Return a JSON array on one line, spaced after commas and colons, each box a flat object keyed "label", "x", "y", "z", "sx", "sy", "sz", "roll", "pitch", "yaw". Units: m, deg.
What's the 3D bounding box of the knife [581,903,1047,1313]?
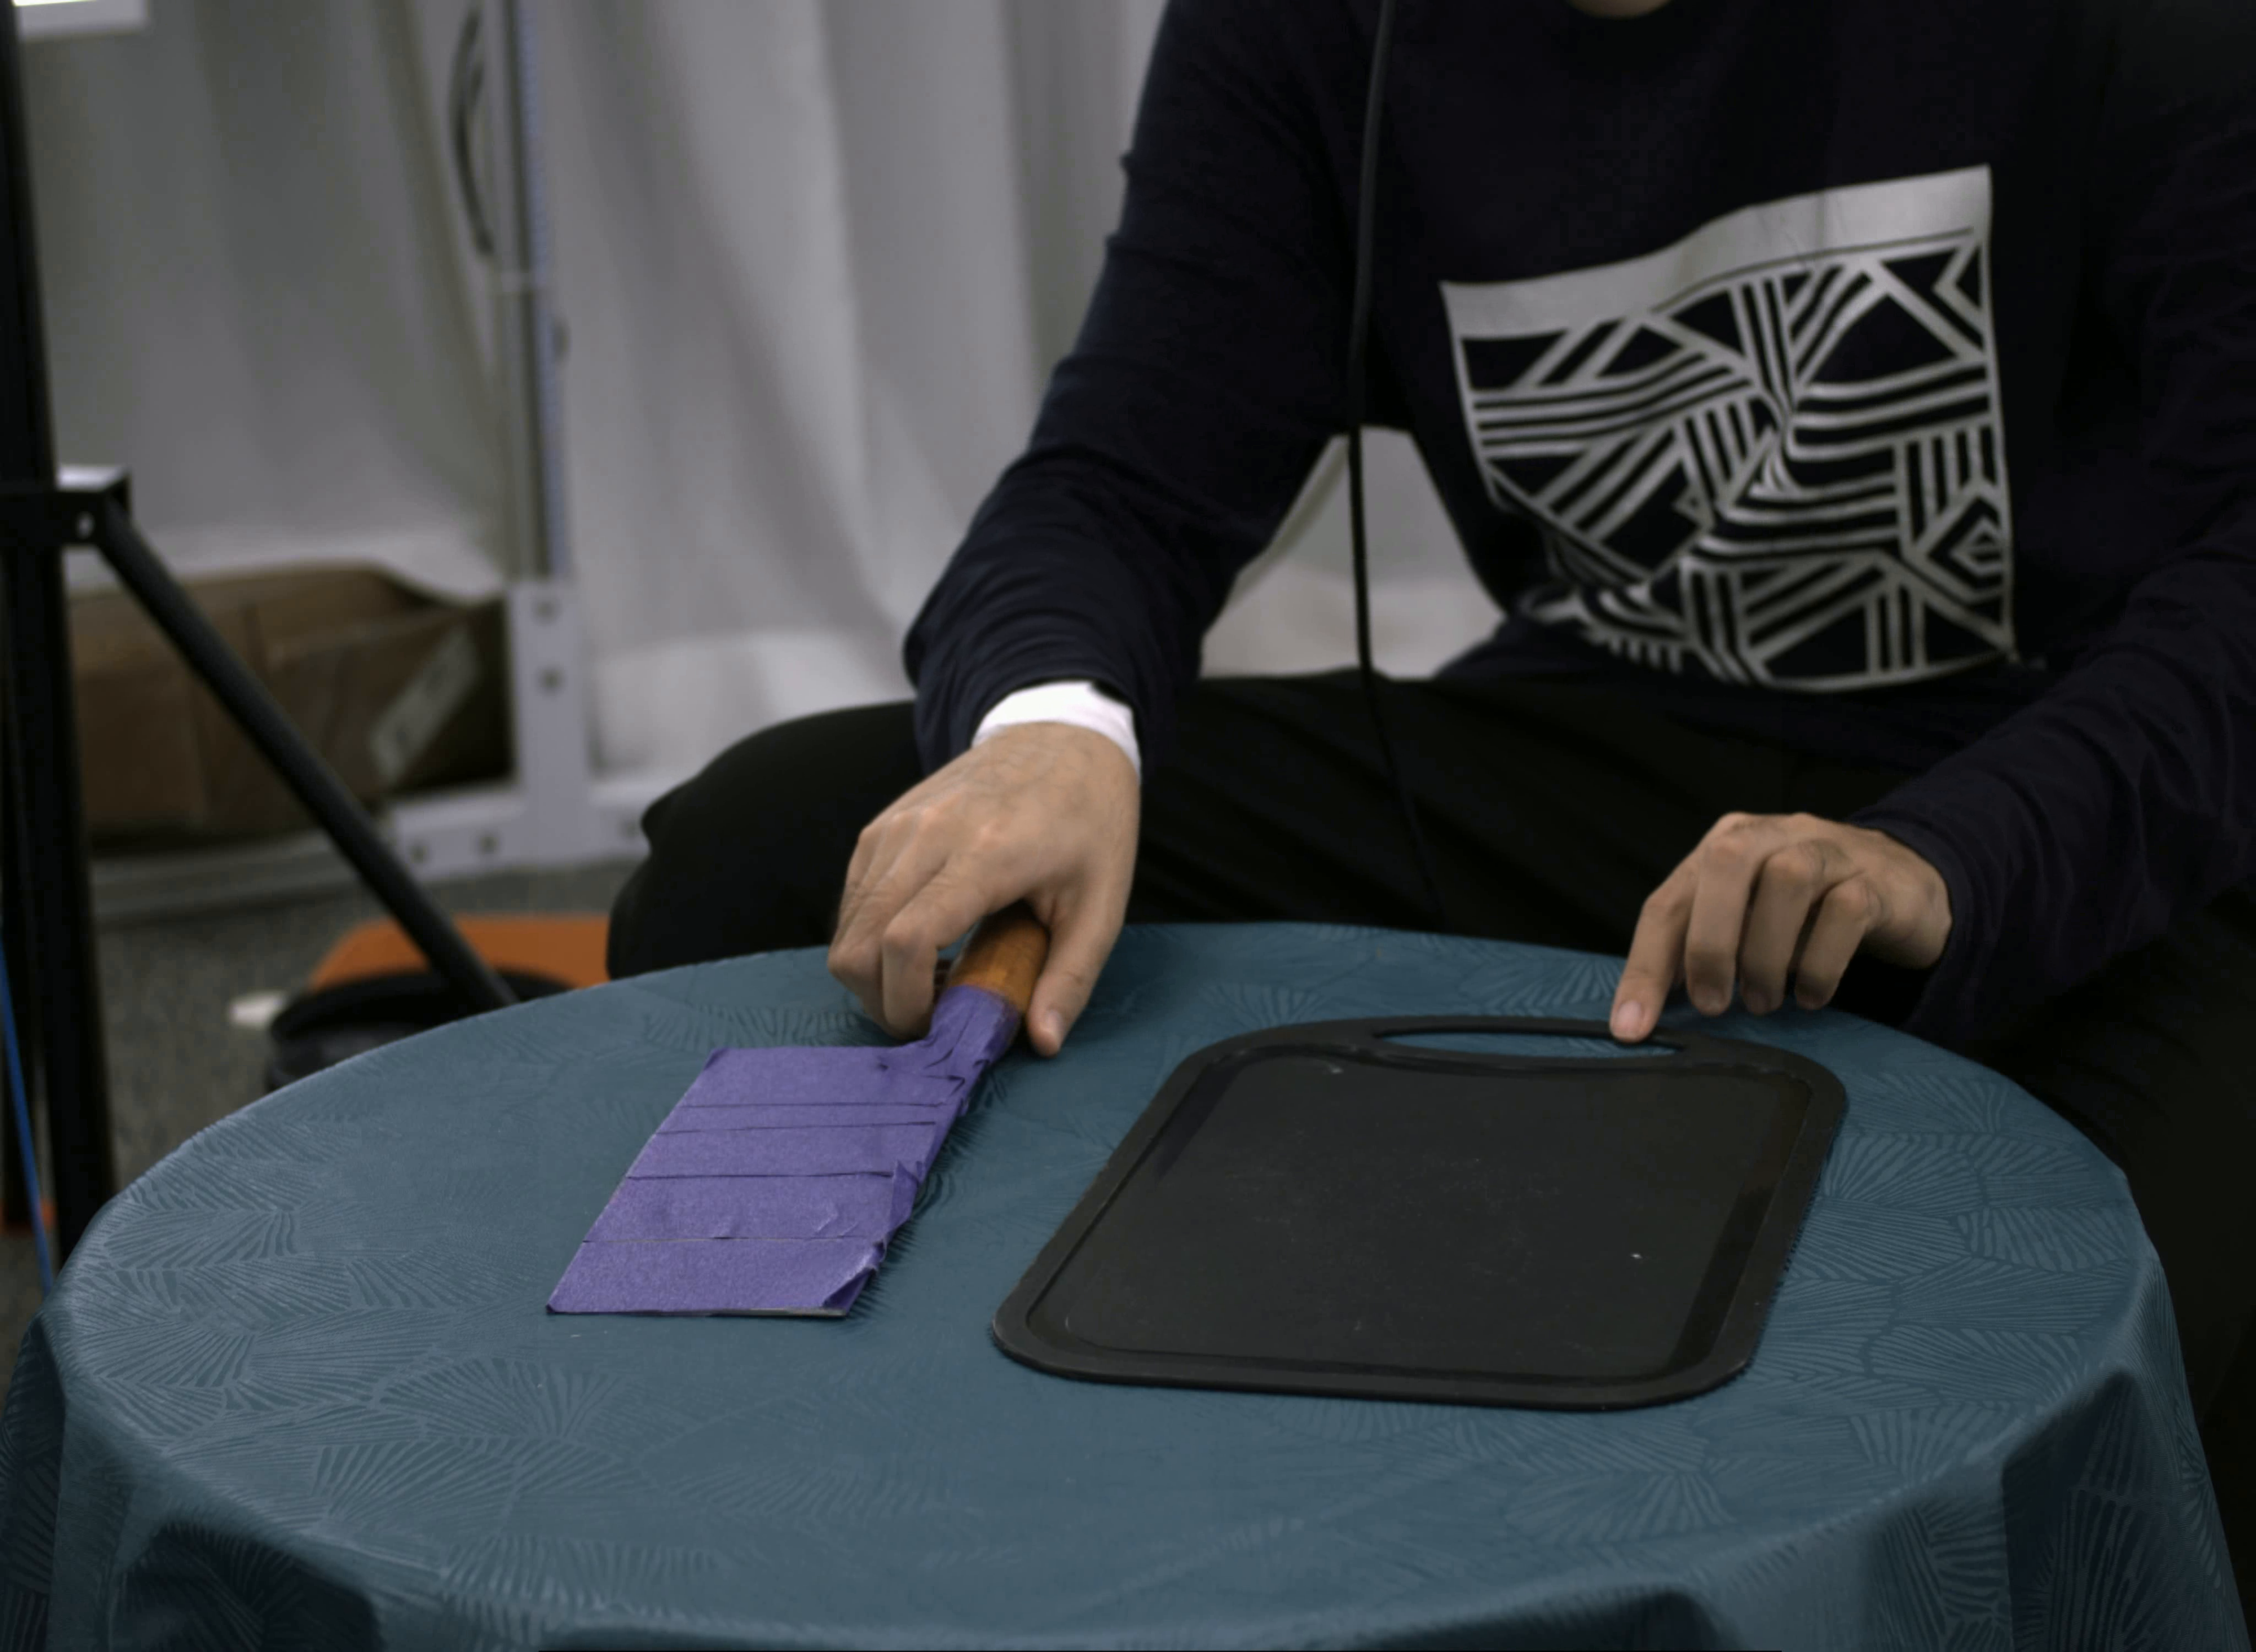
[{"label": "knife", "x": -0.093, "y": 0.082, "z": 1.619, "sx": 0.104, "sy": 0.032, "sz": 0.314, "roll": 0, "pitch": 16, "yaw": 10}]

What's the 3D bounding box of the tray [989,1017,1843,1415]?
[{"label": "tray", "x": 0.092, "y": 0.105, "z": 1.545, "sx": 0.213, "sy": 0.010, "sz": 0.323, "roll": 2, "pitch": 16, "yaw": 15}]
